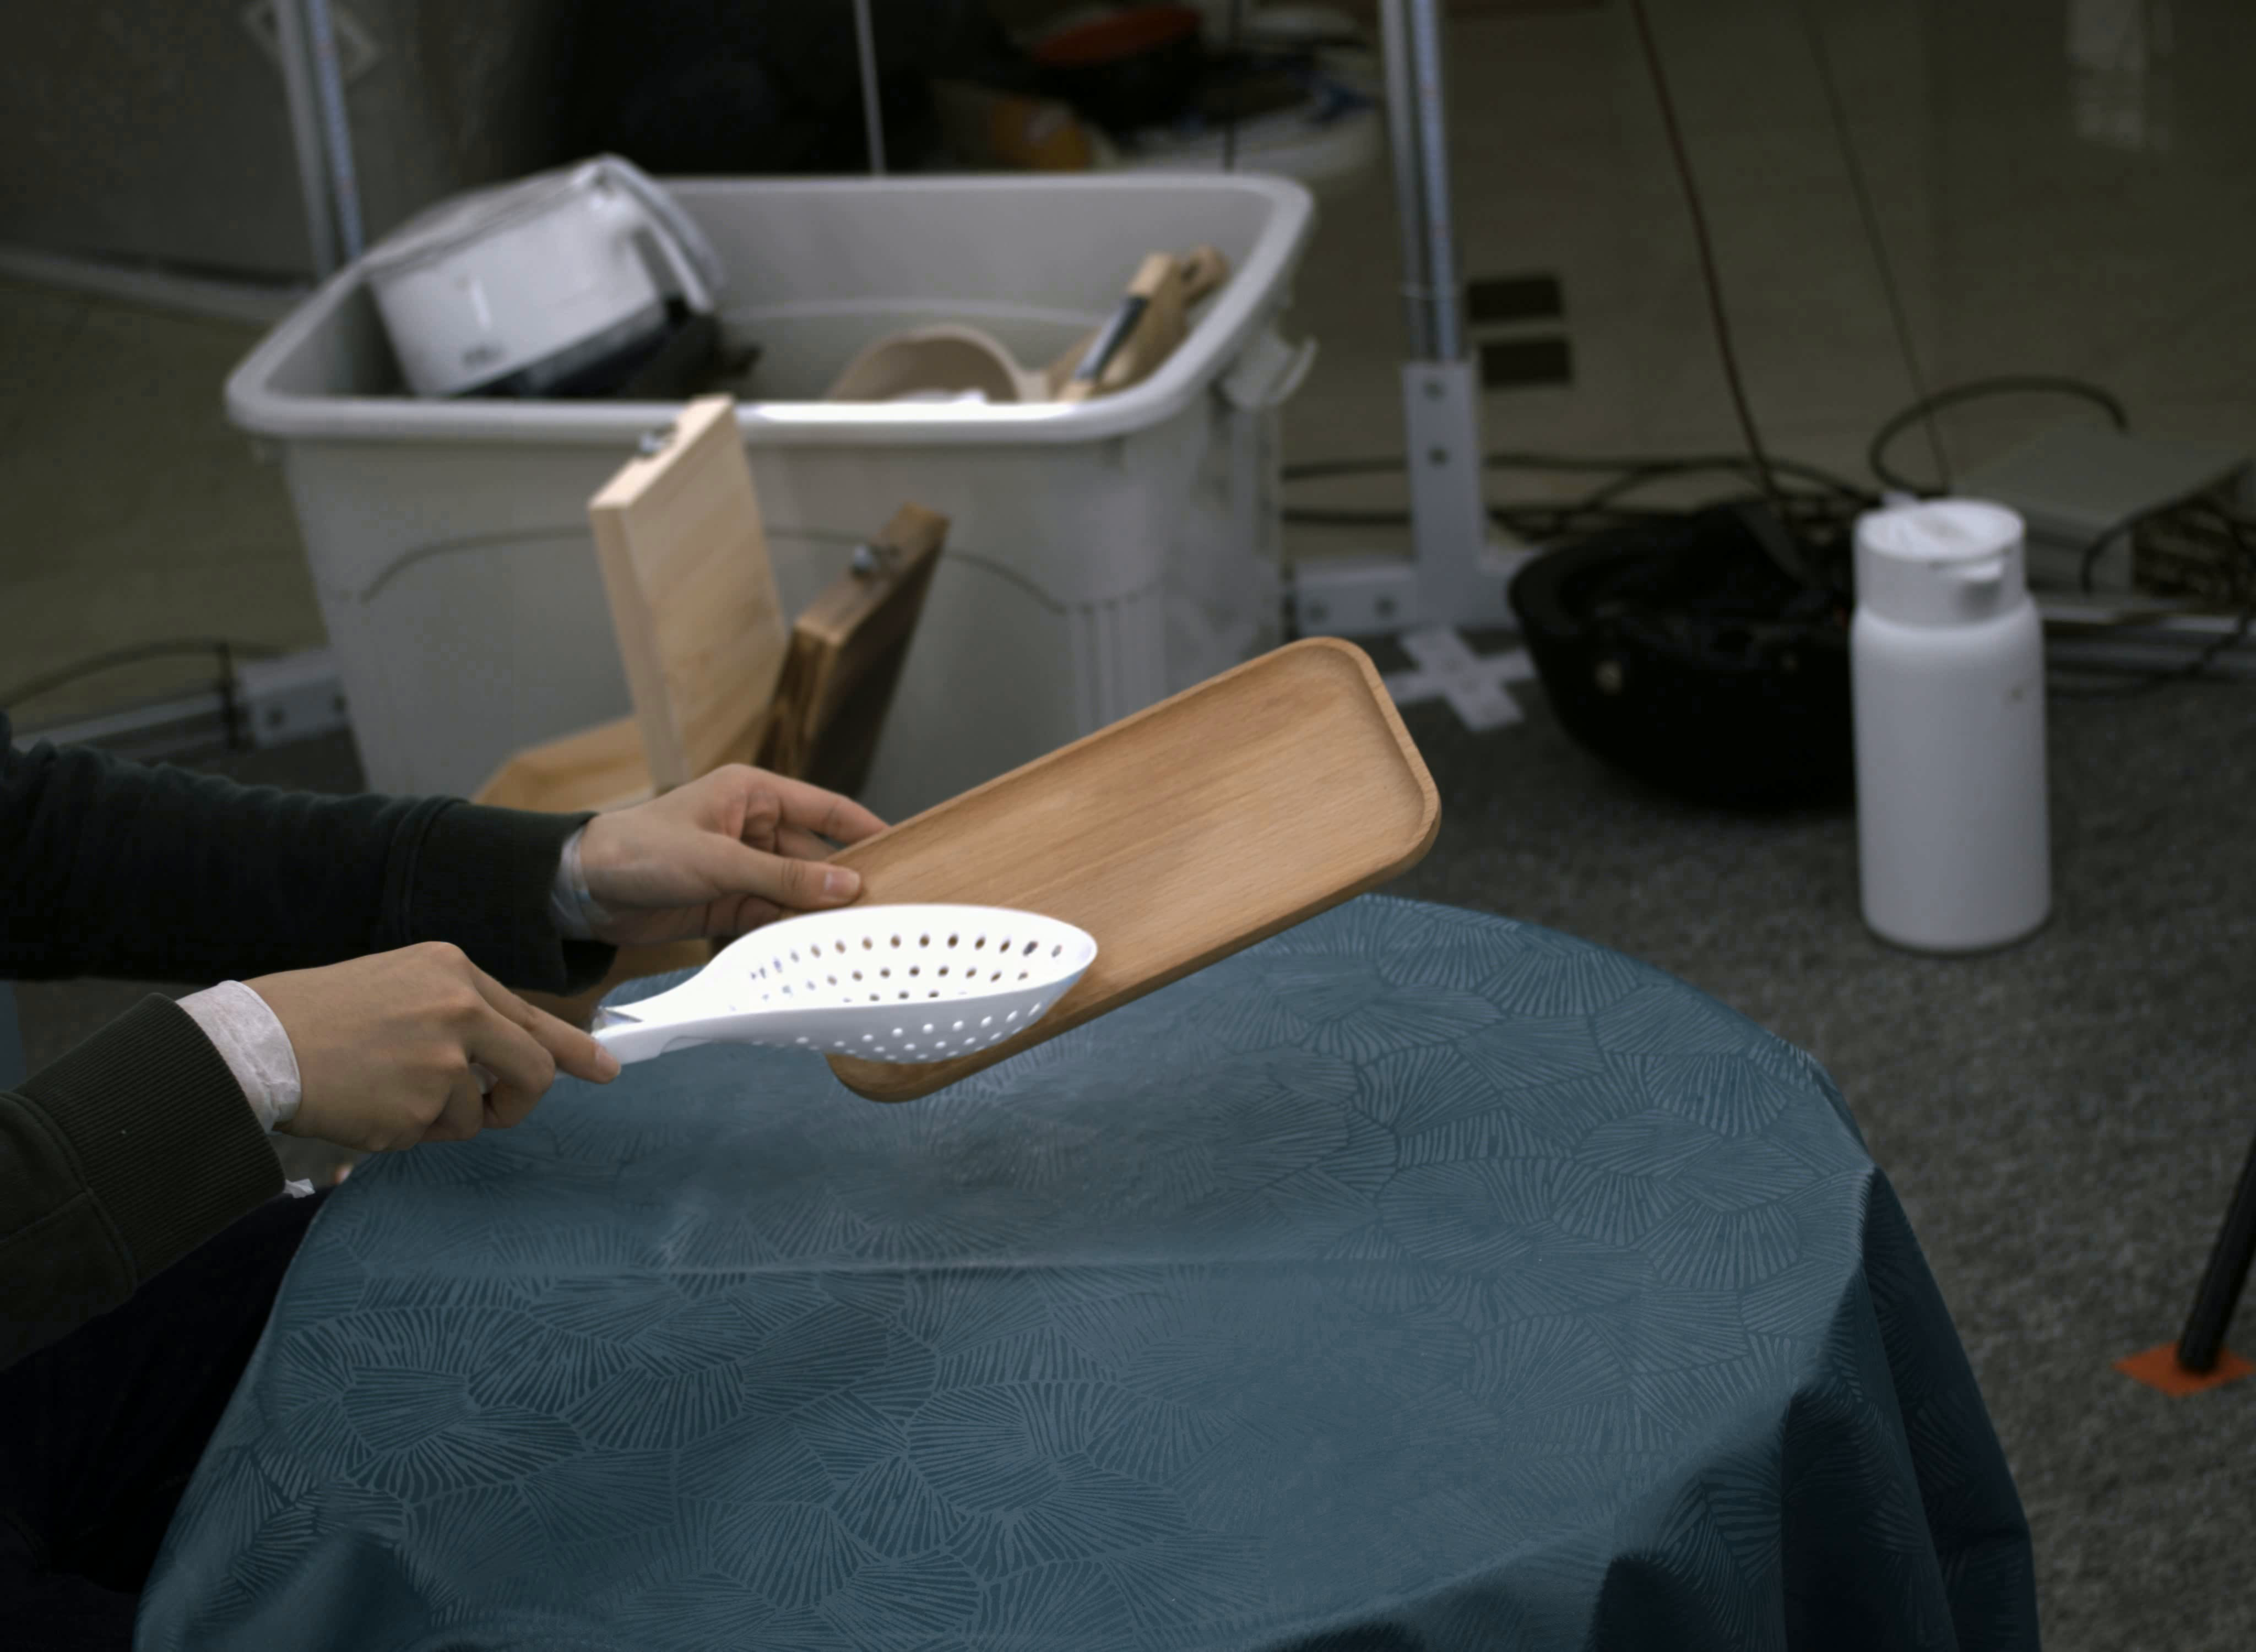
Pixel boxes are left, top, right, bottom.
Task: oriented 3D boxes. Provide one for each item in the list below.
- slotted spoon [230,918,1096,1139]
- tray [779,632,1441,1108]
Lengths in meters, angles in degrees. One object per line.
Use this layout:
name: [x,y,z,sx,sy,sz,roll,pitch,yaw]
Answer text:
slotted spoon: [-0.163,0.071,2.017,0.349,0.046,0.135,-5,11,-39]
tray: [-0.007,0.017,2.146,0.250,0.023,0.128,-25,47,3]
